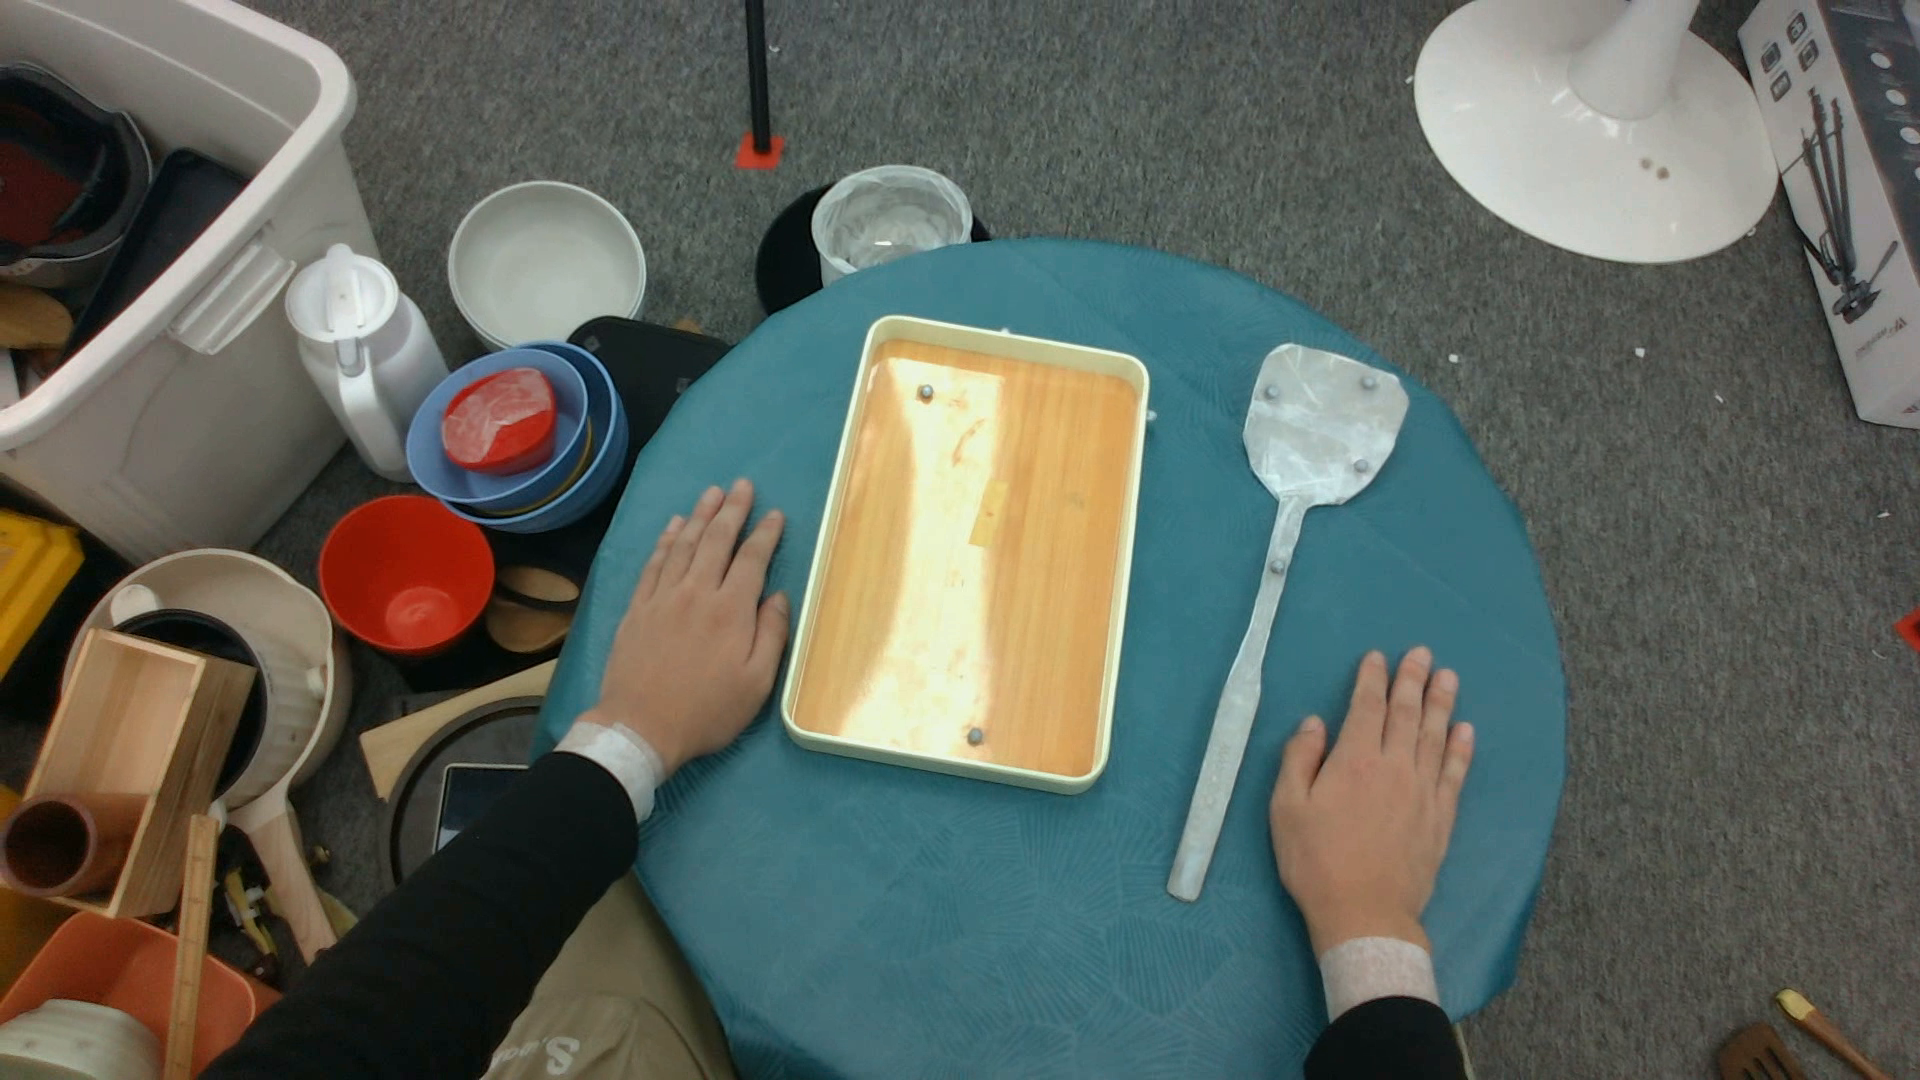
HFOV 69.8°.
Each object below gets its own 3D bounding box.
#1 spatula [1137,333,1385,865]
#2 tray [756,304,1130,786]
[{"bbox_3d":[0.175,0.029,0.844,0.098,0.044,0.366,20,62,5],"label":"spatula"},{"bbox_3d":[-0.003,-0.007,0.853,0.191,0.027,0.301,10,62,0],"label":"tray"}]
